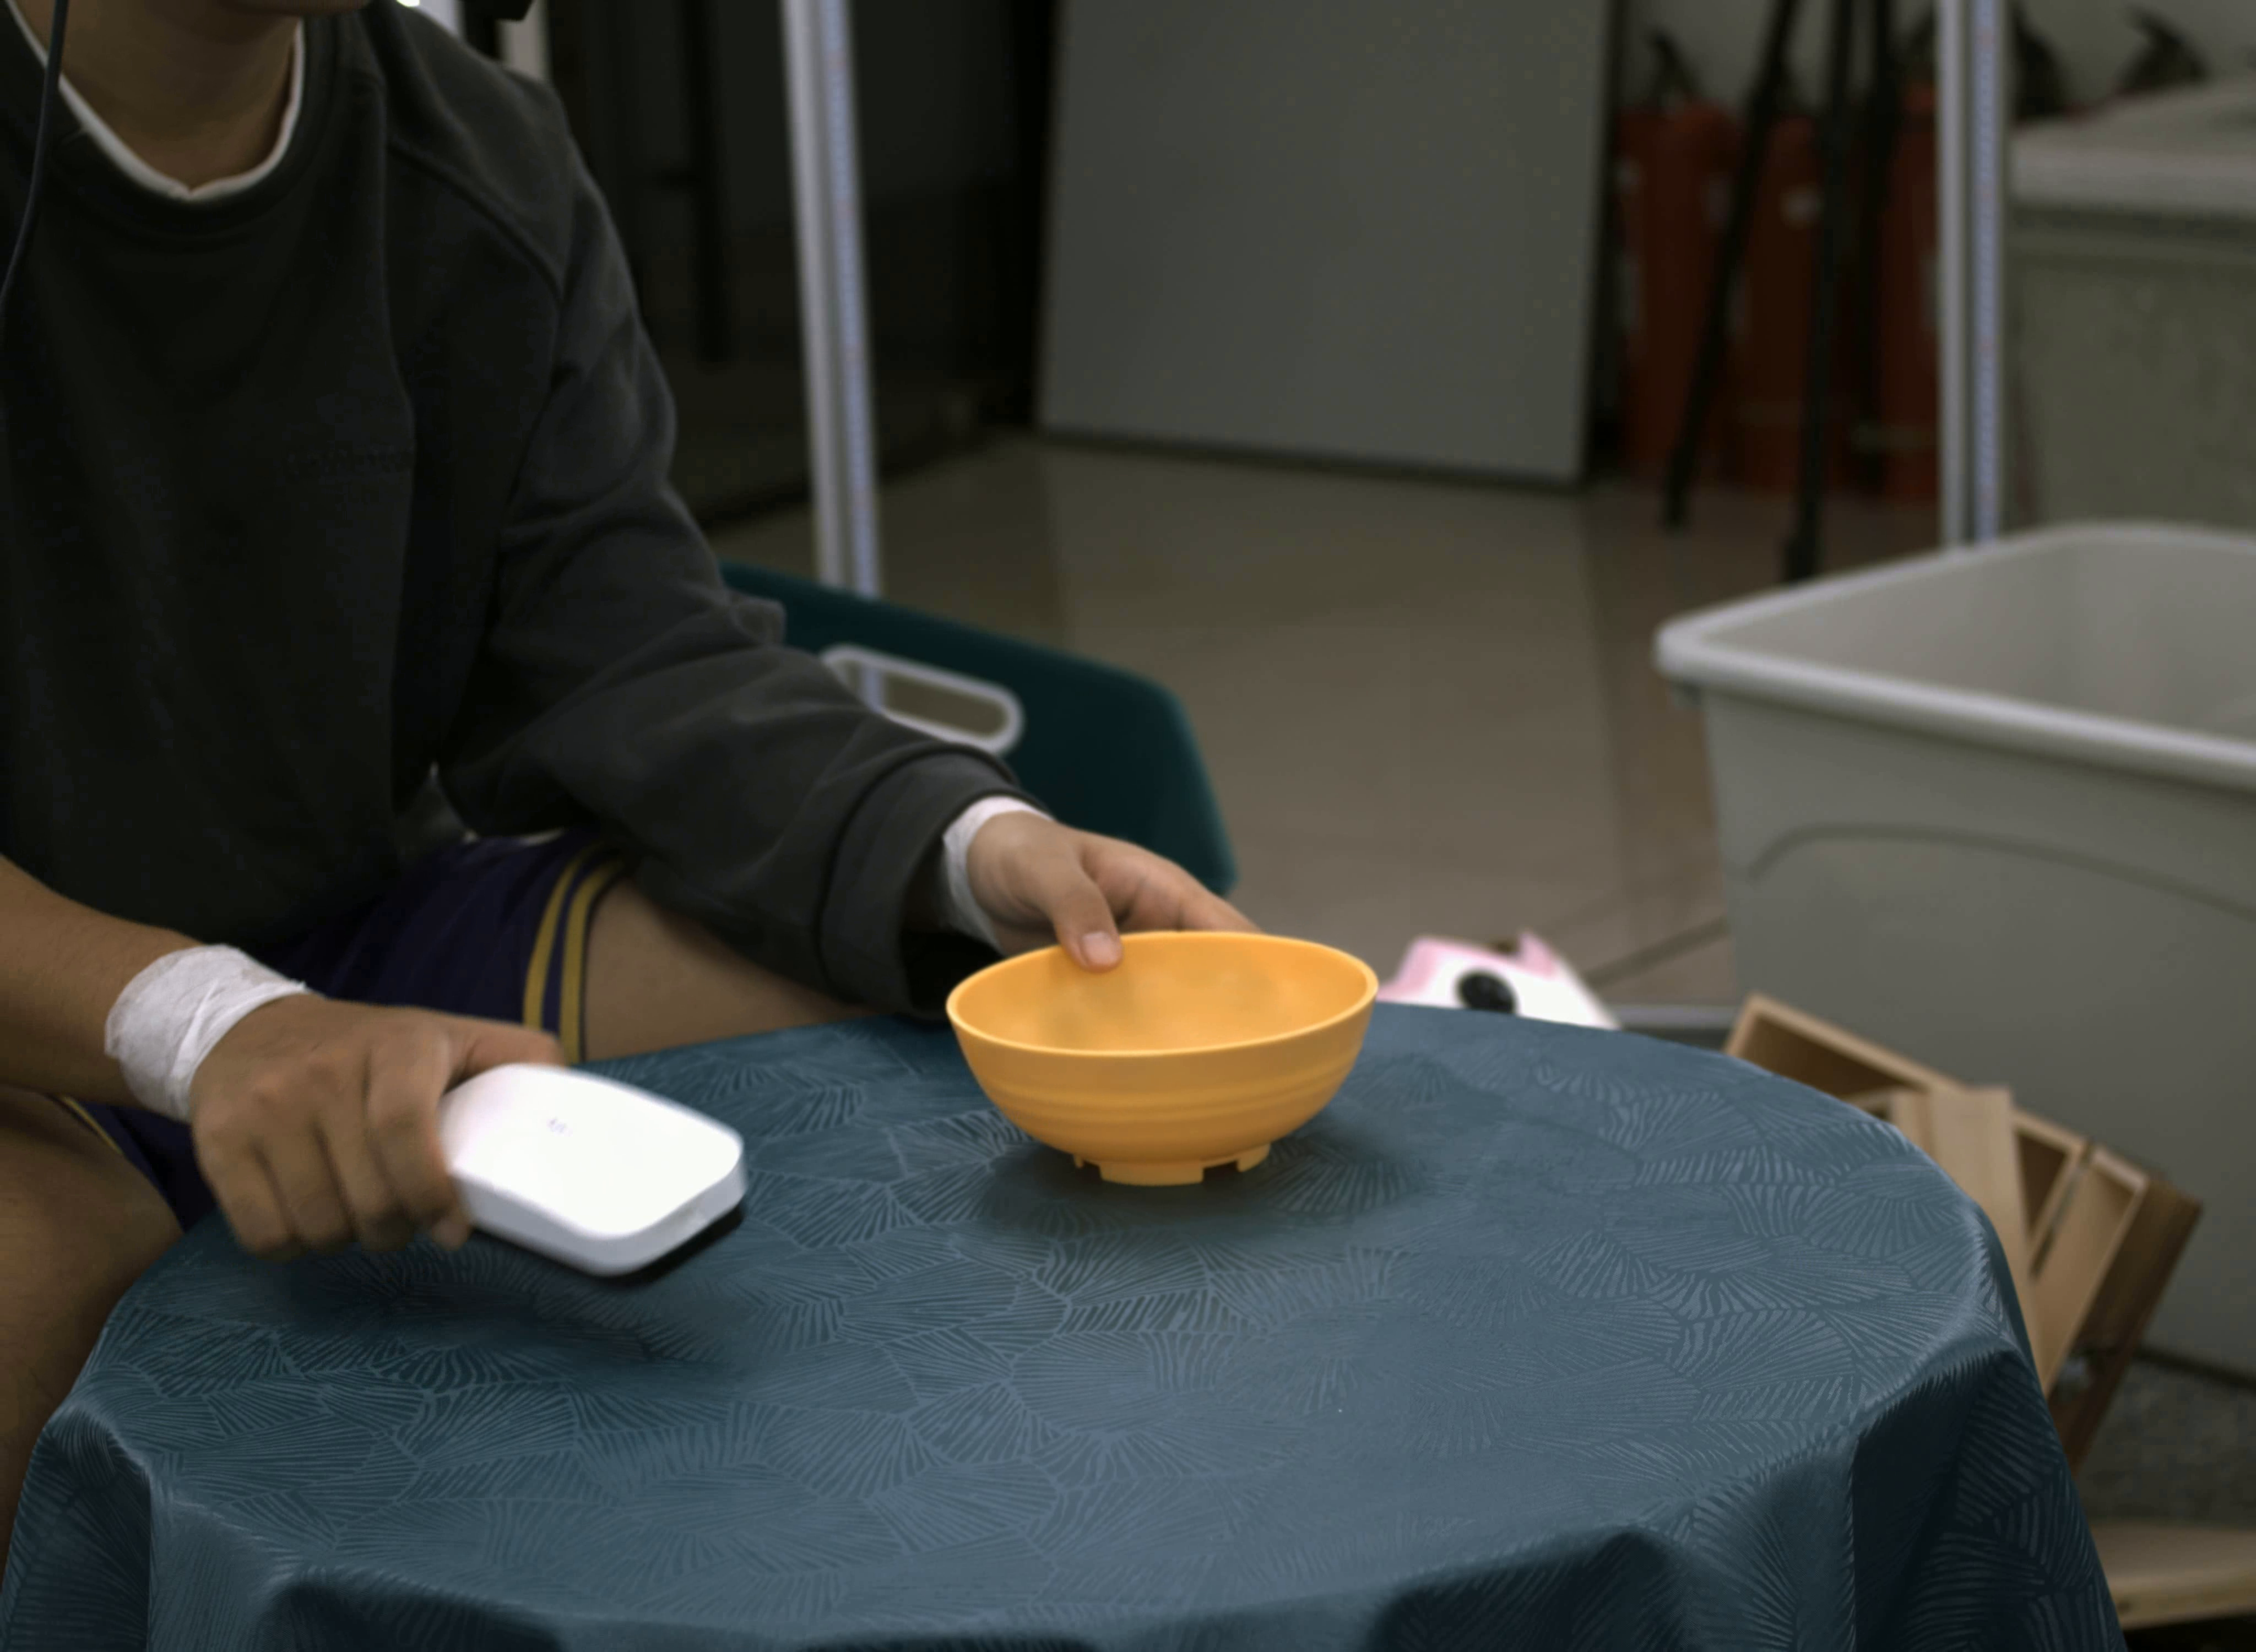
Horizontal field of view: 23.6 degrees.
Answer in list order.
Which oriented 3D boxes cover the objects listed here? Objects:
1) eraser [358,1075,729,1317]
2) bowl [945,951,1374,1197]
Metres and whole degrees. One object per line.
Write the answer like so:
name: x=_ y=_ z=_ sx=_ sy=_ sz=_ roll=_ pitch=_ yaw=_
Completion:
eraser: x=-0.179 y=0.110 z=1.666 sx=0.062 sy=0.035 sz=0.132 roll=-30 pitch=31 yaw=-33
bowl: x=0.012 y=0.086 z=1.795 sx=0.143 sy=0.061 sz=0.145 roll=-4 pitch=11 yaw=0
